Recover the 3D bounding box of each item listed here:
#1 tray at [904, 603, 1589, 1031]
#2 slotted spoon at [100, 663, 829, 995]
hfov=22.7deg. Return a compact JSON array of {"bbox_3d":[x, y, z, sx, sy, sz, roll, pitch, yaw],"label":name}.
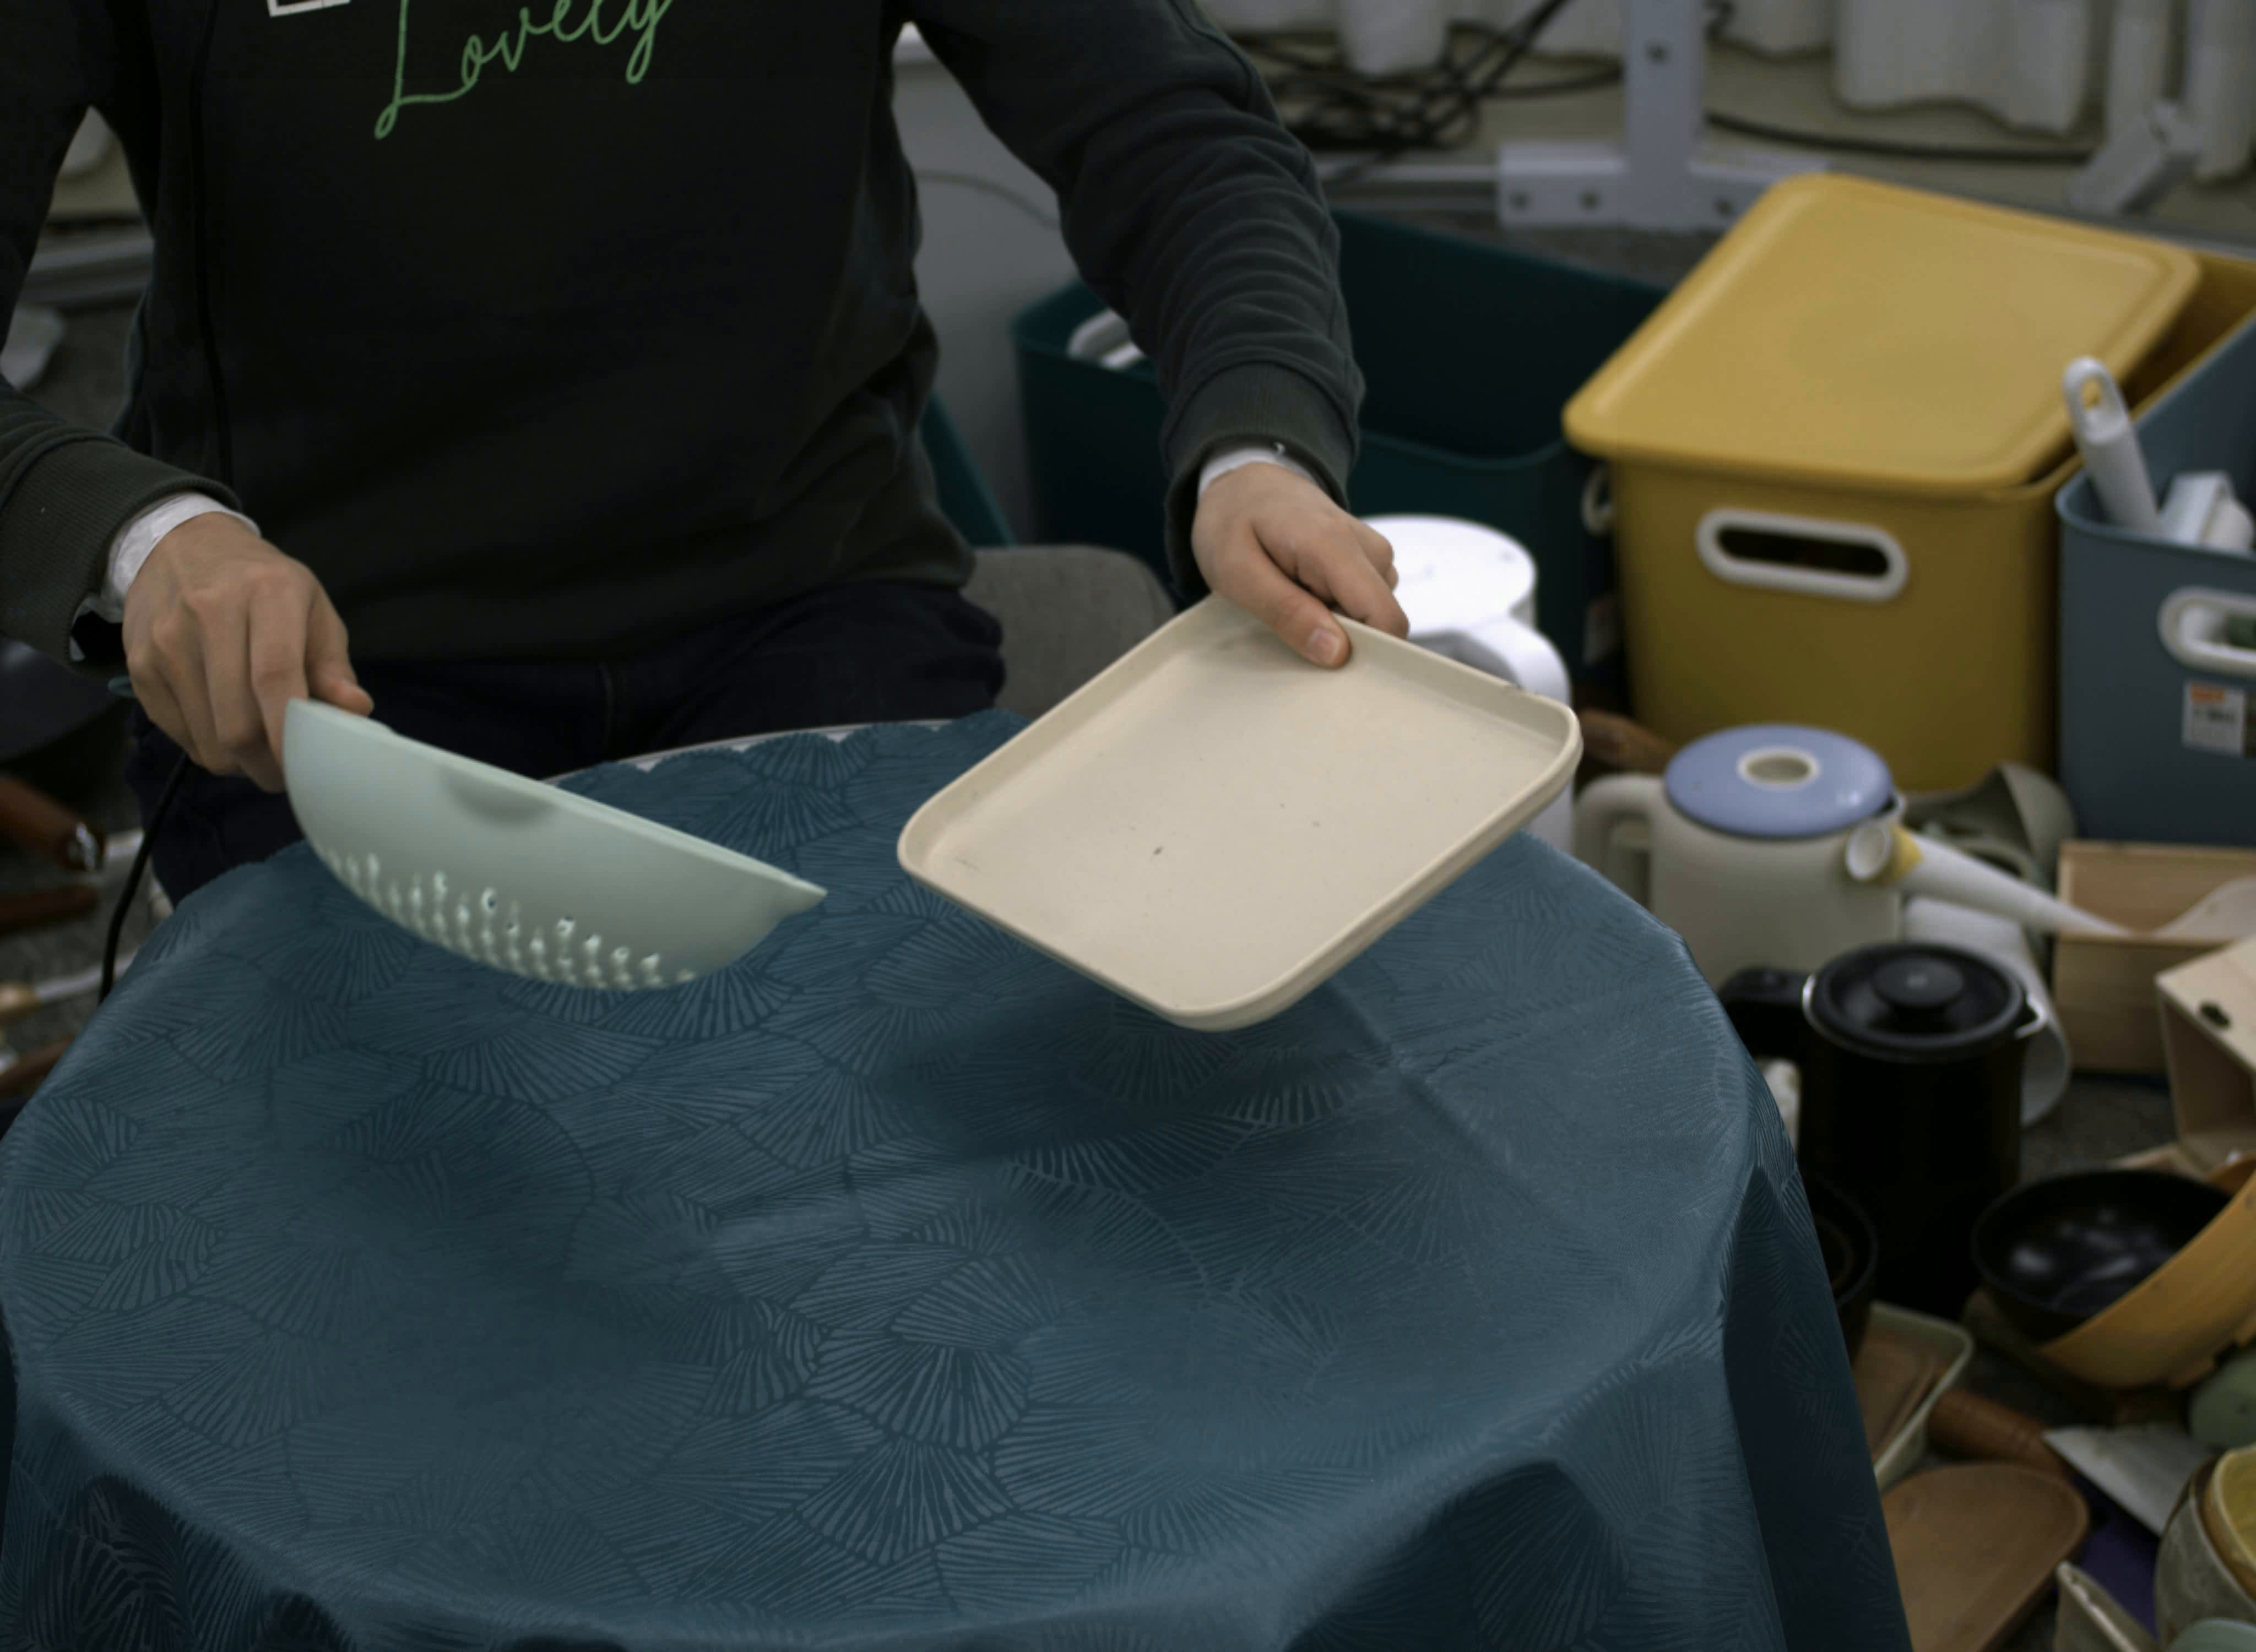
[{"bbox_3d":[0.037,-0.004,1.868,0.173,0.017,0.239,-36,28,-18],"label":"tray"},{"bbox_3d":[-0.242,-0.015,1.816,0.169,0.075,0.359,22,5,-39],"label":"slotted spoon"}]
